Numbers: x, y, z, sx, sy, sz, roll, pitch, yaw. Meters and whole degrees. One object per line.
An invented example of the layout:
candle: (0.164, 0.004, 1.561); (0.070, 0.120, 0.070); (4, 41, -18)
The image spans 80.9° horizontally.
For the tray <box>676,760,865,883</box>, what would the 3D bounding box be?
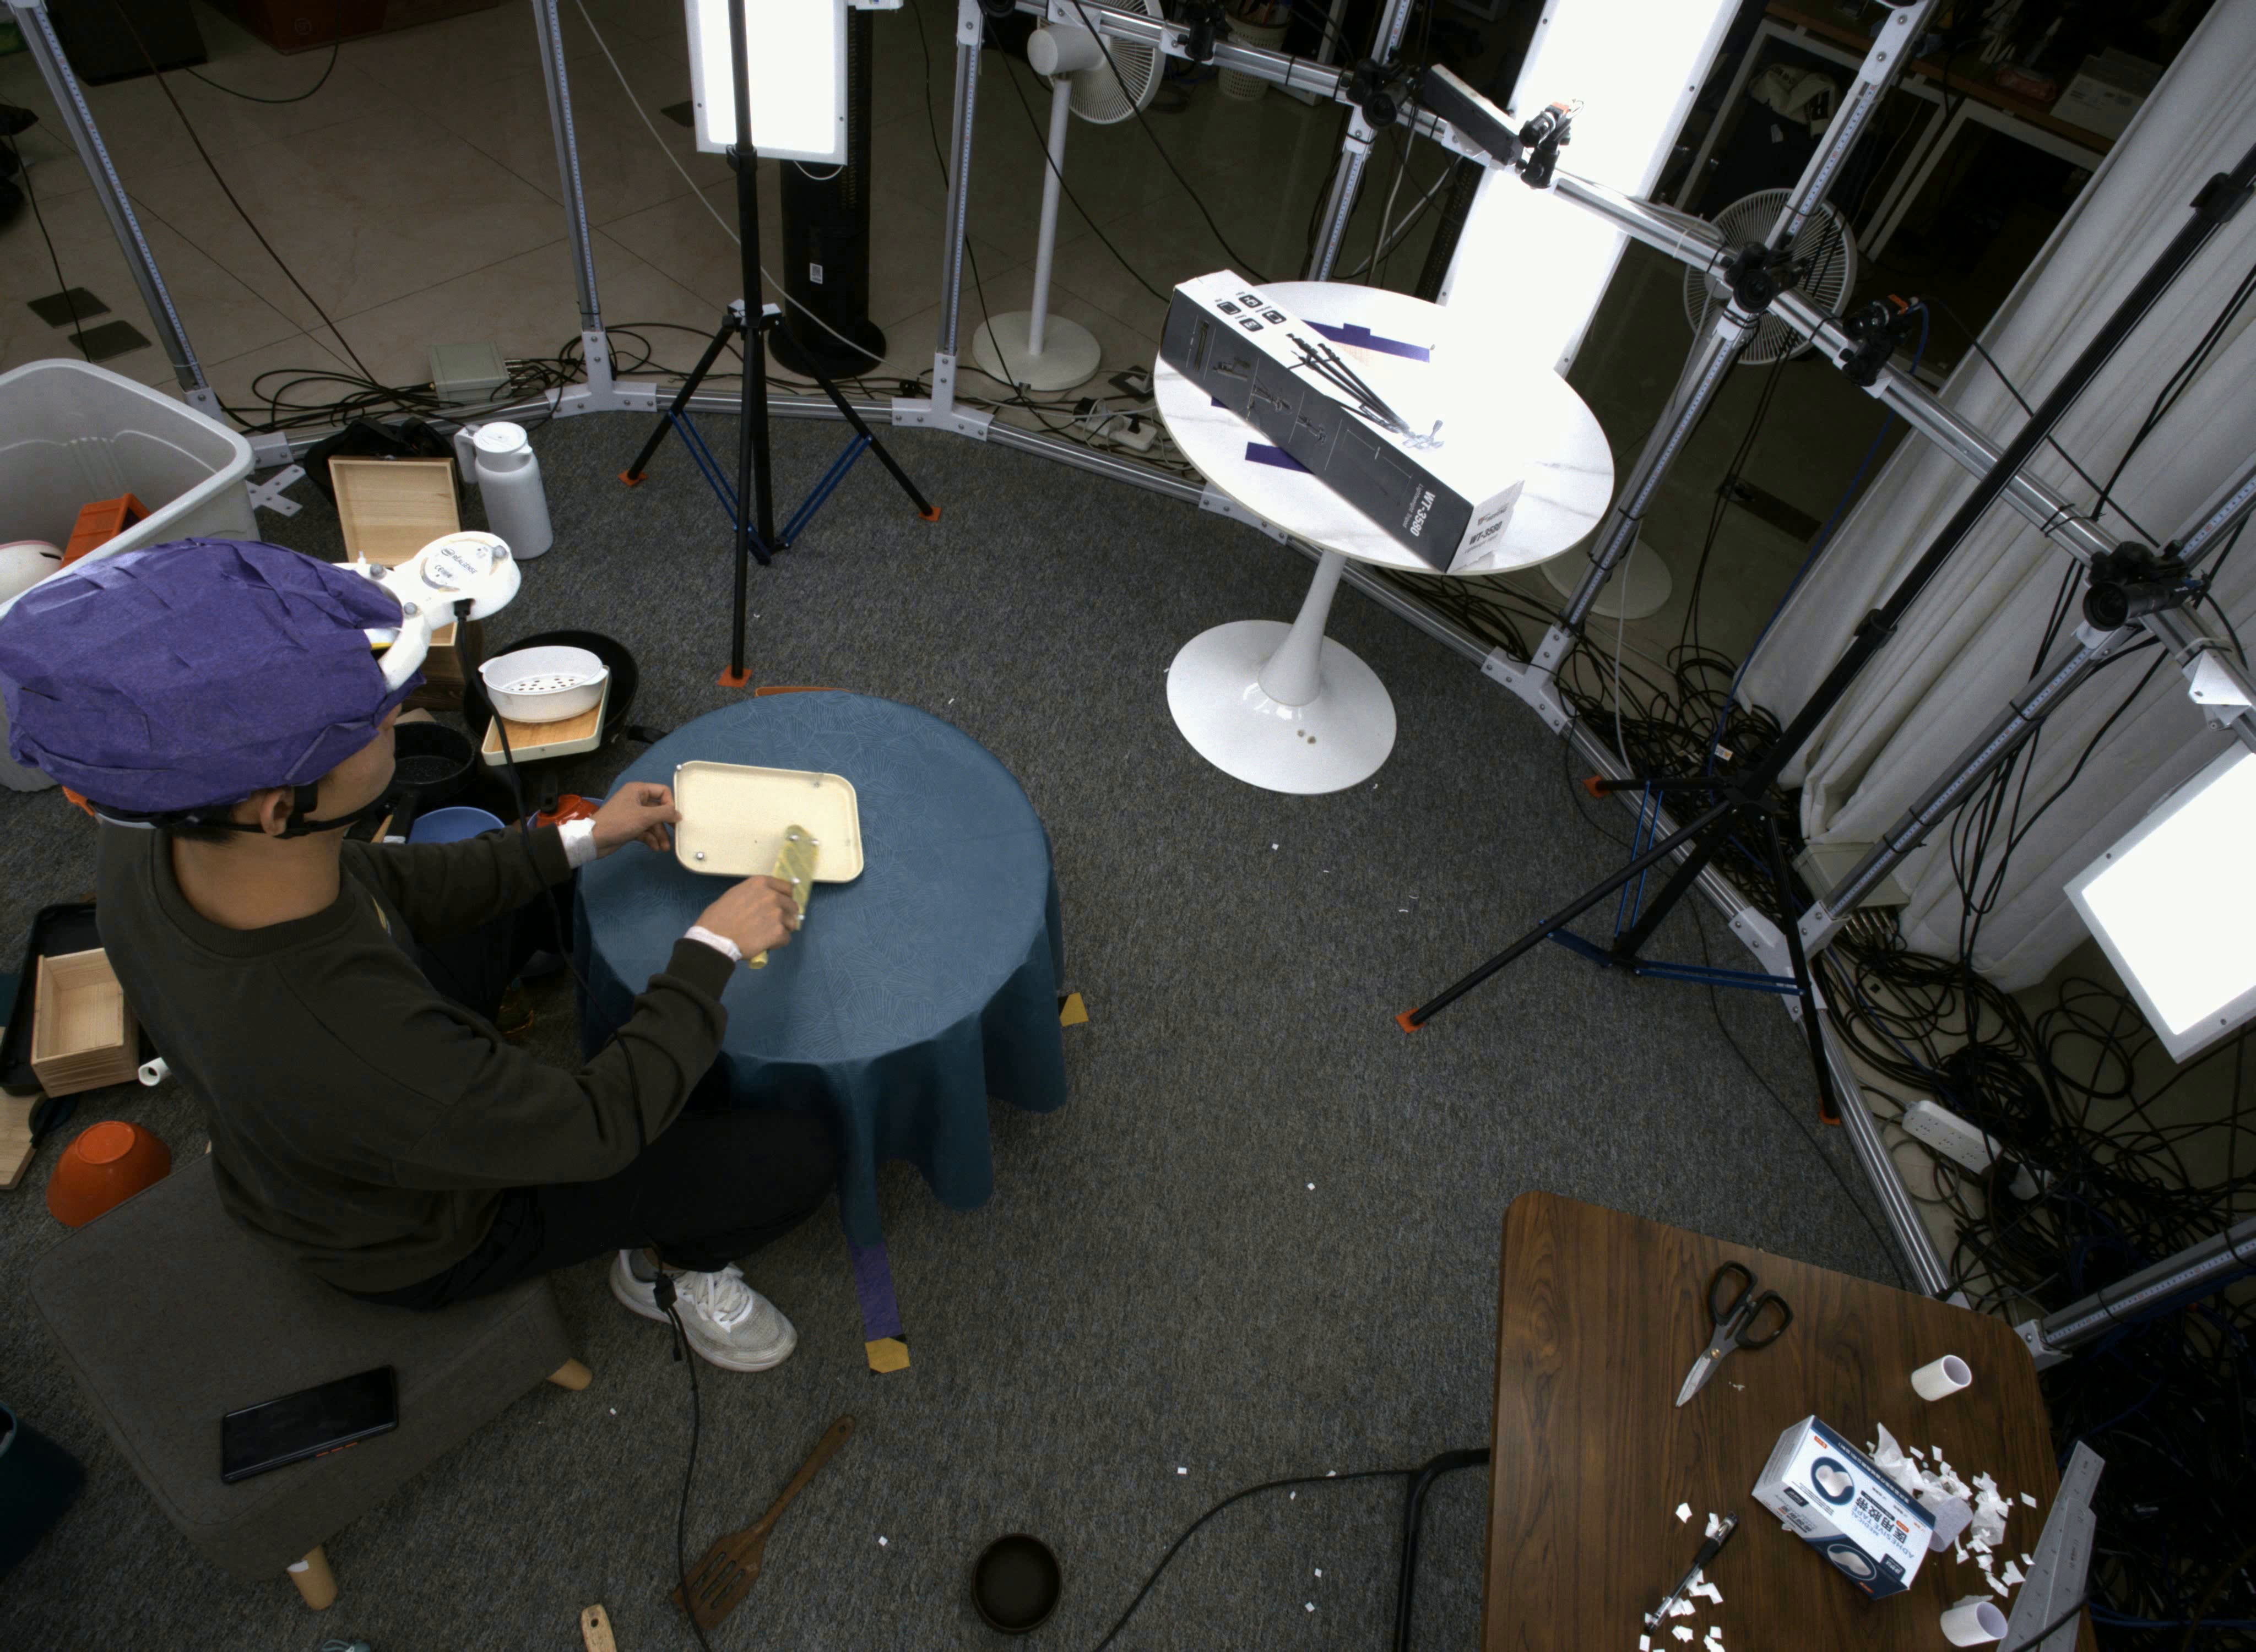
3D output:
tray: (-0.464, -0.005, 1.678); (0.243, 0.017, 0.168); (5, 57, -29)

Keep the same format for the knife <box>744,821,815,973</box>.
knife: (-0.417, 0.084, 1.568); (0.027, 0.084, 0.283); (-18, 32, 13)
